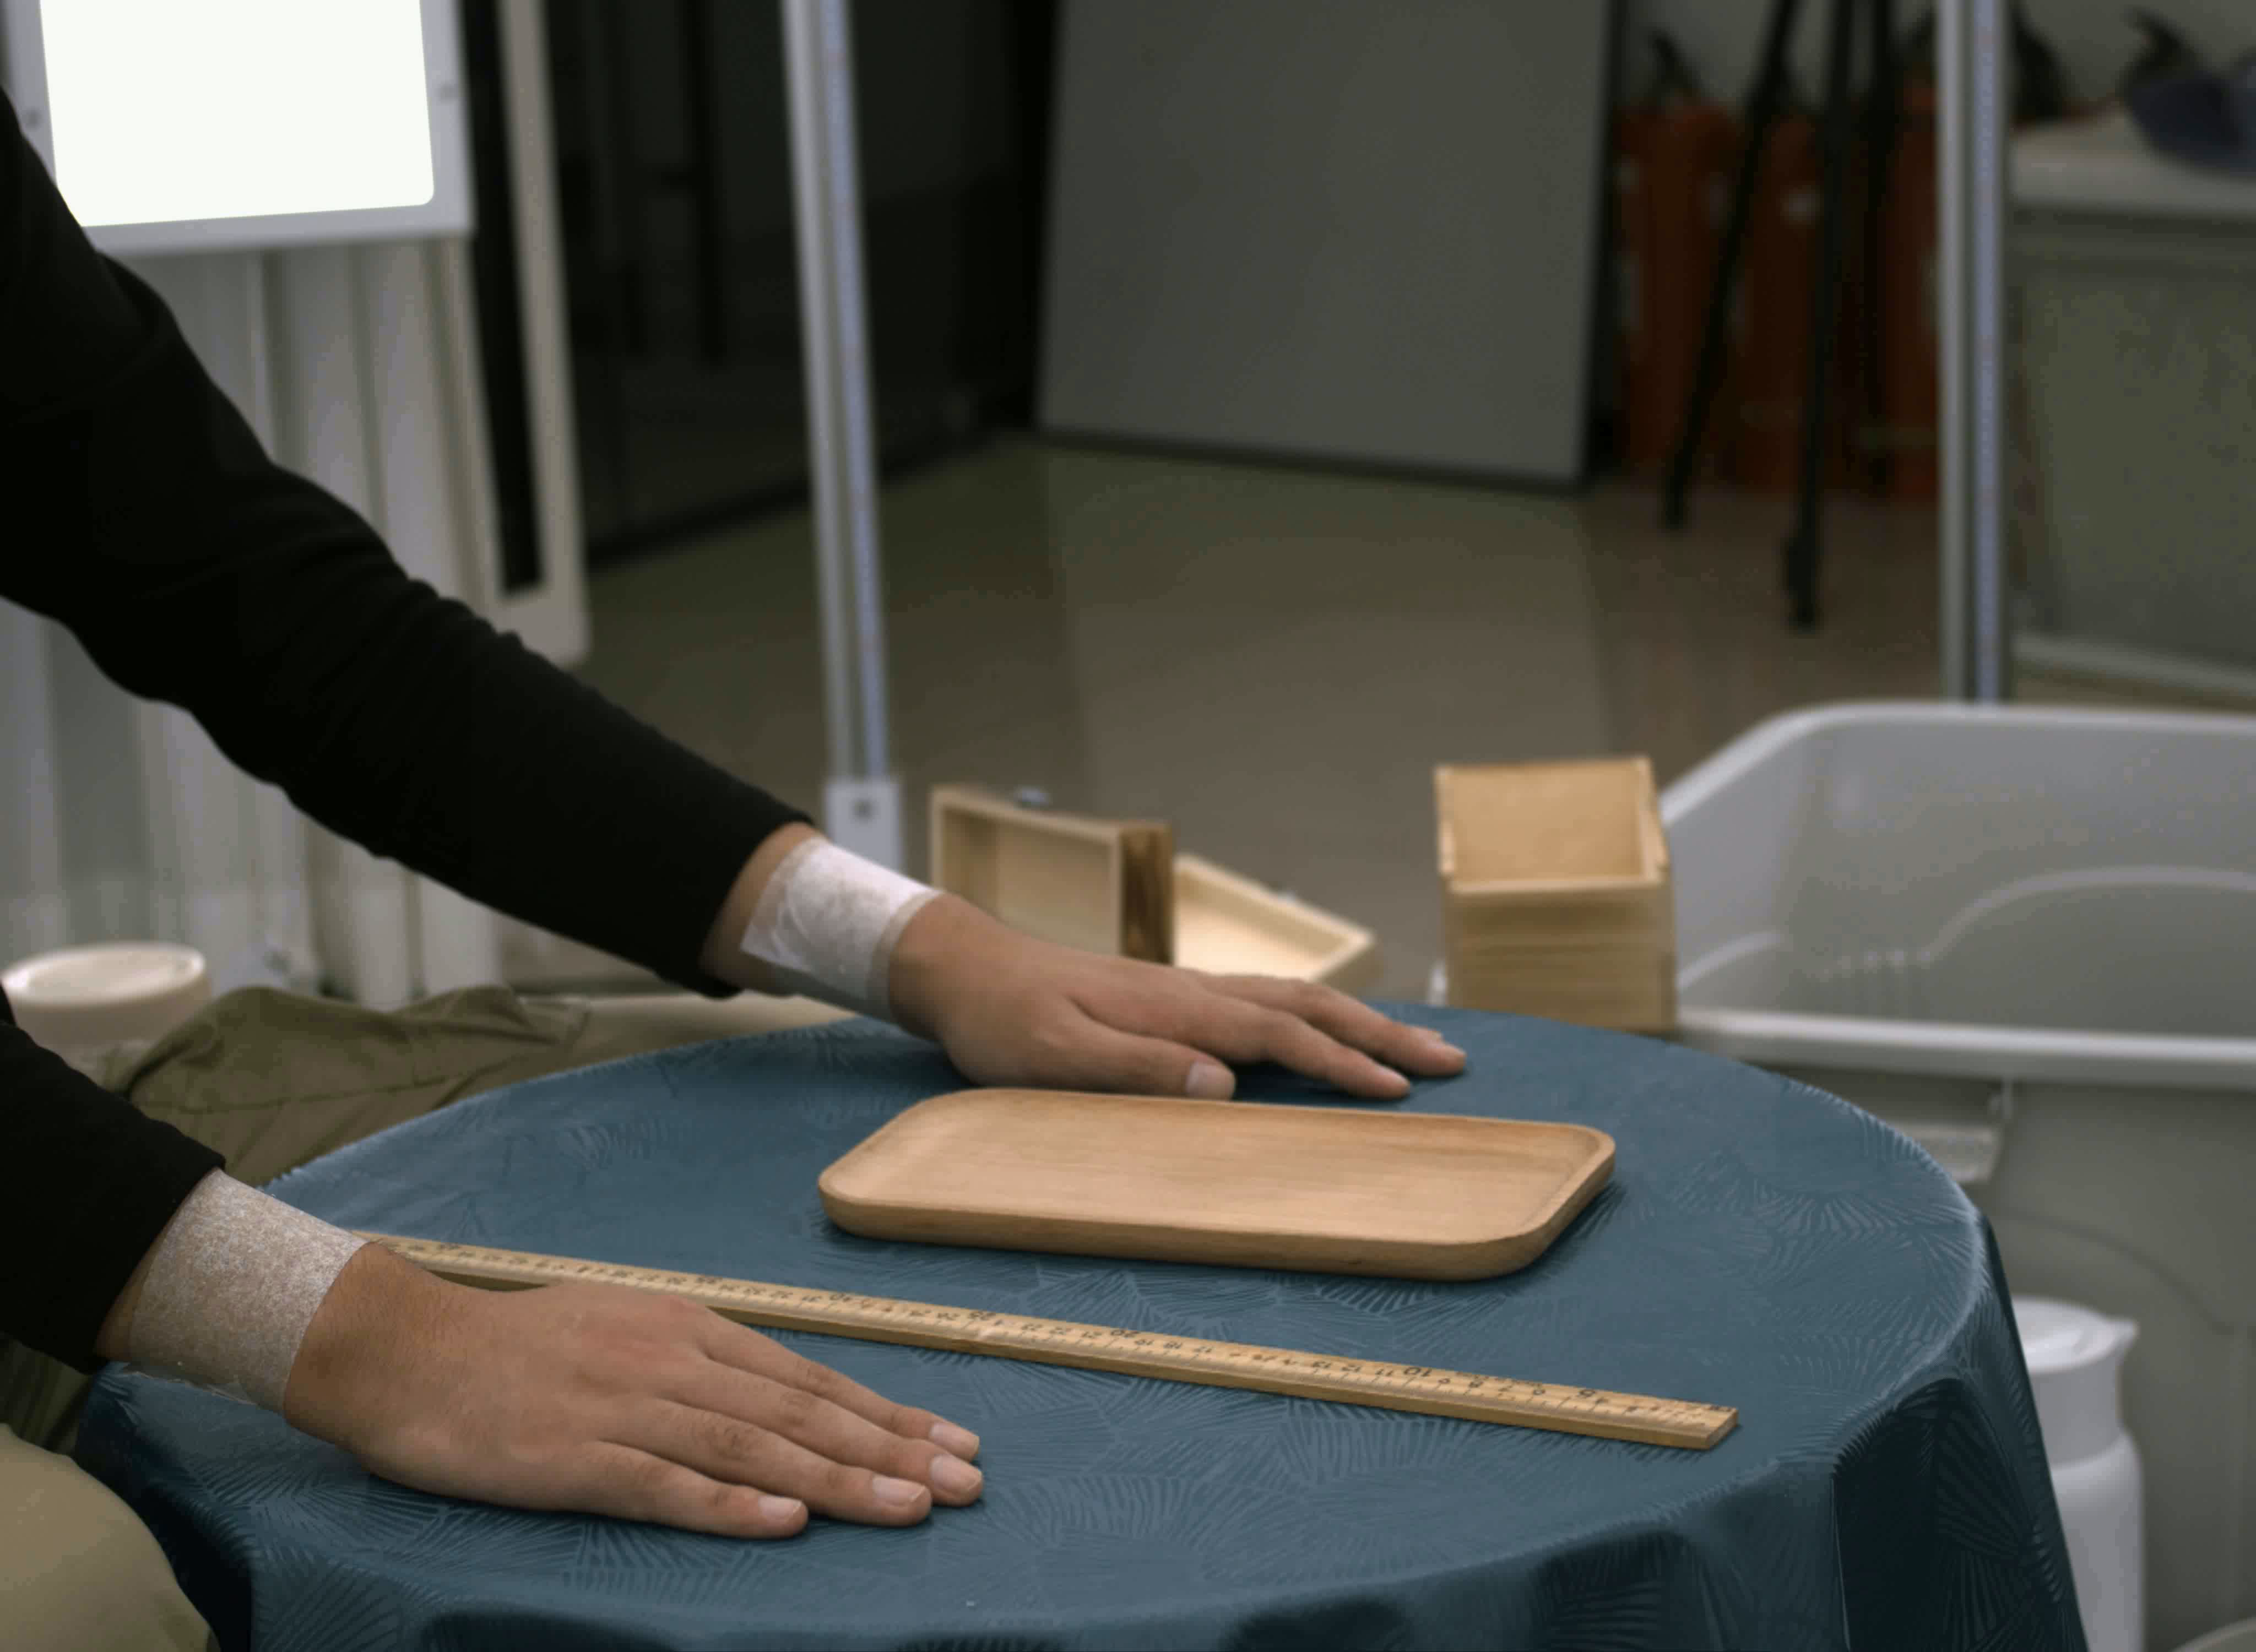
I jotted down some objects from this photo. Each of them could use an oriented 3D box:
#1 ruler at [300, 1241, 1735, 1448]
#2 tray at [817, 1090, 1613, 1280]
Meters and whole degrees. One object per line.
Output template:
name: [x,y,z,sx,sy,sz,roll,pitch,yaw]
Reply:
ruler: [-0.047,0.154,1.639,0.502,0.006,0.026,4,14,31]
tray: [0.028,0.116,1.750,0.251,0.023,0.129,1,13,25]
